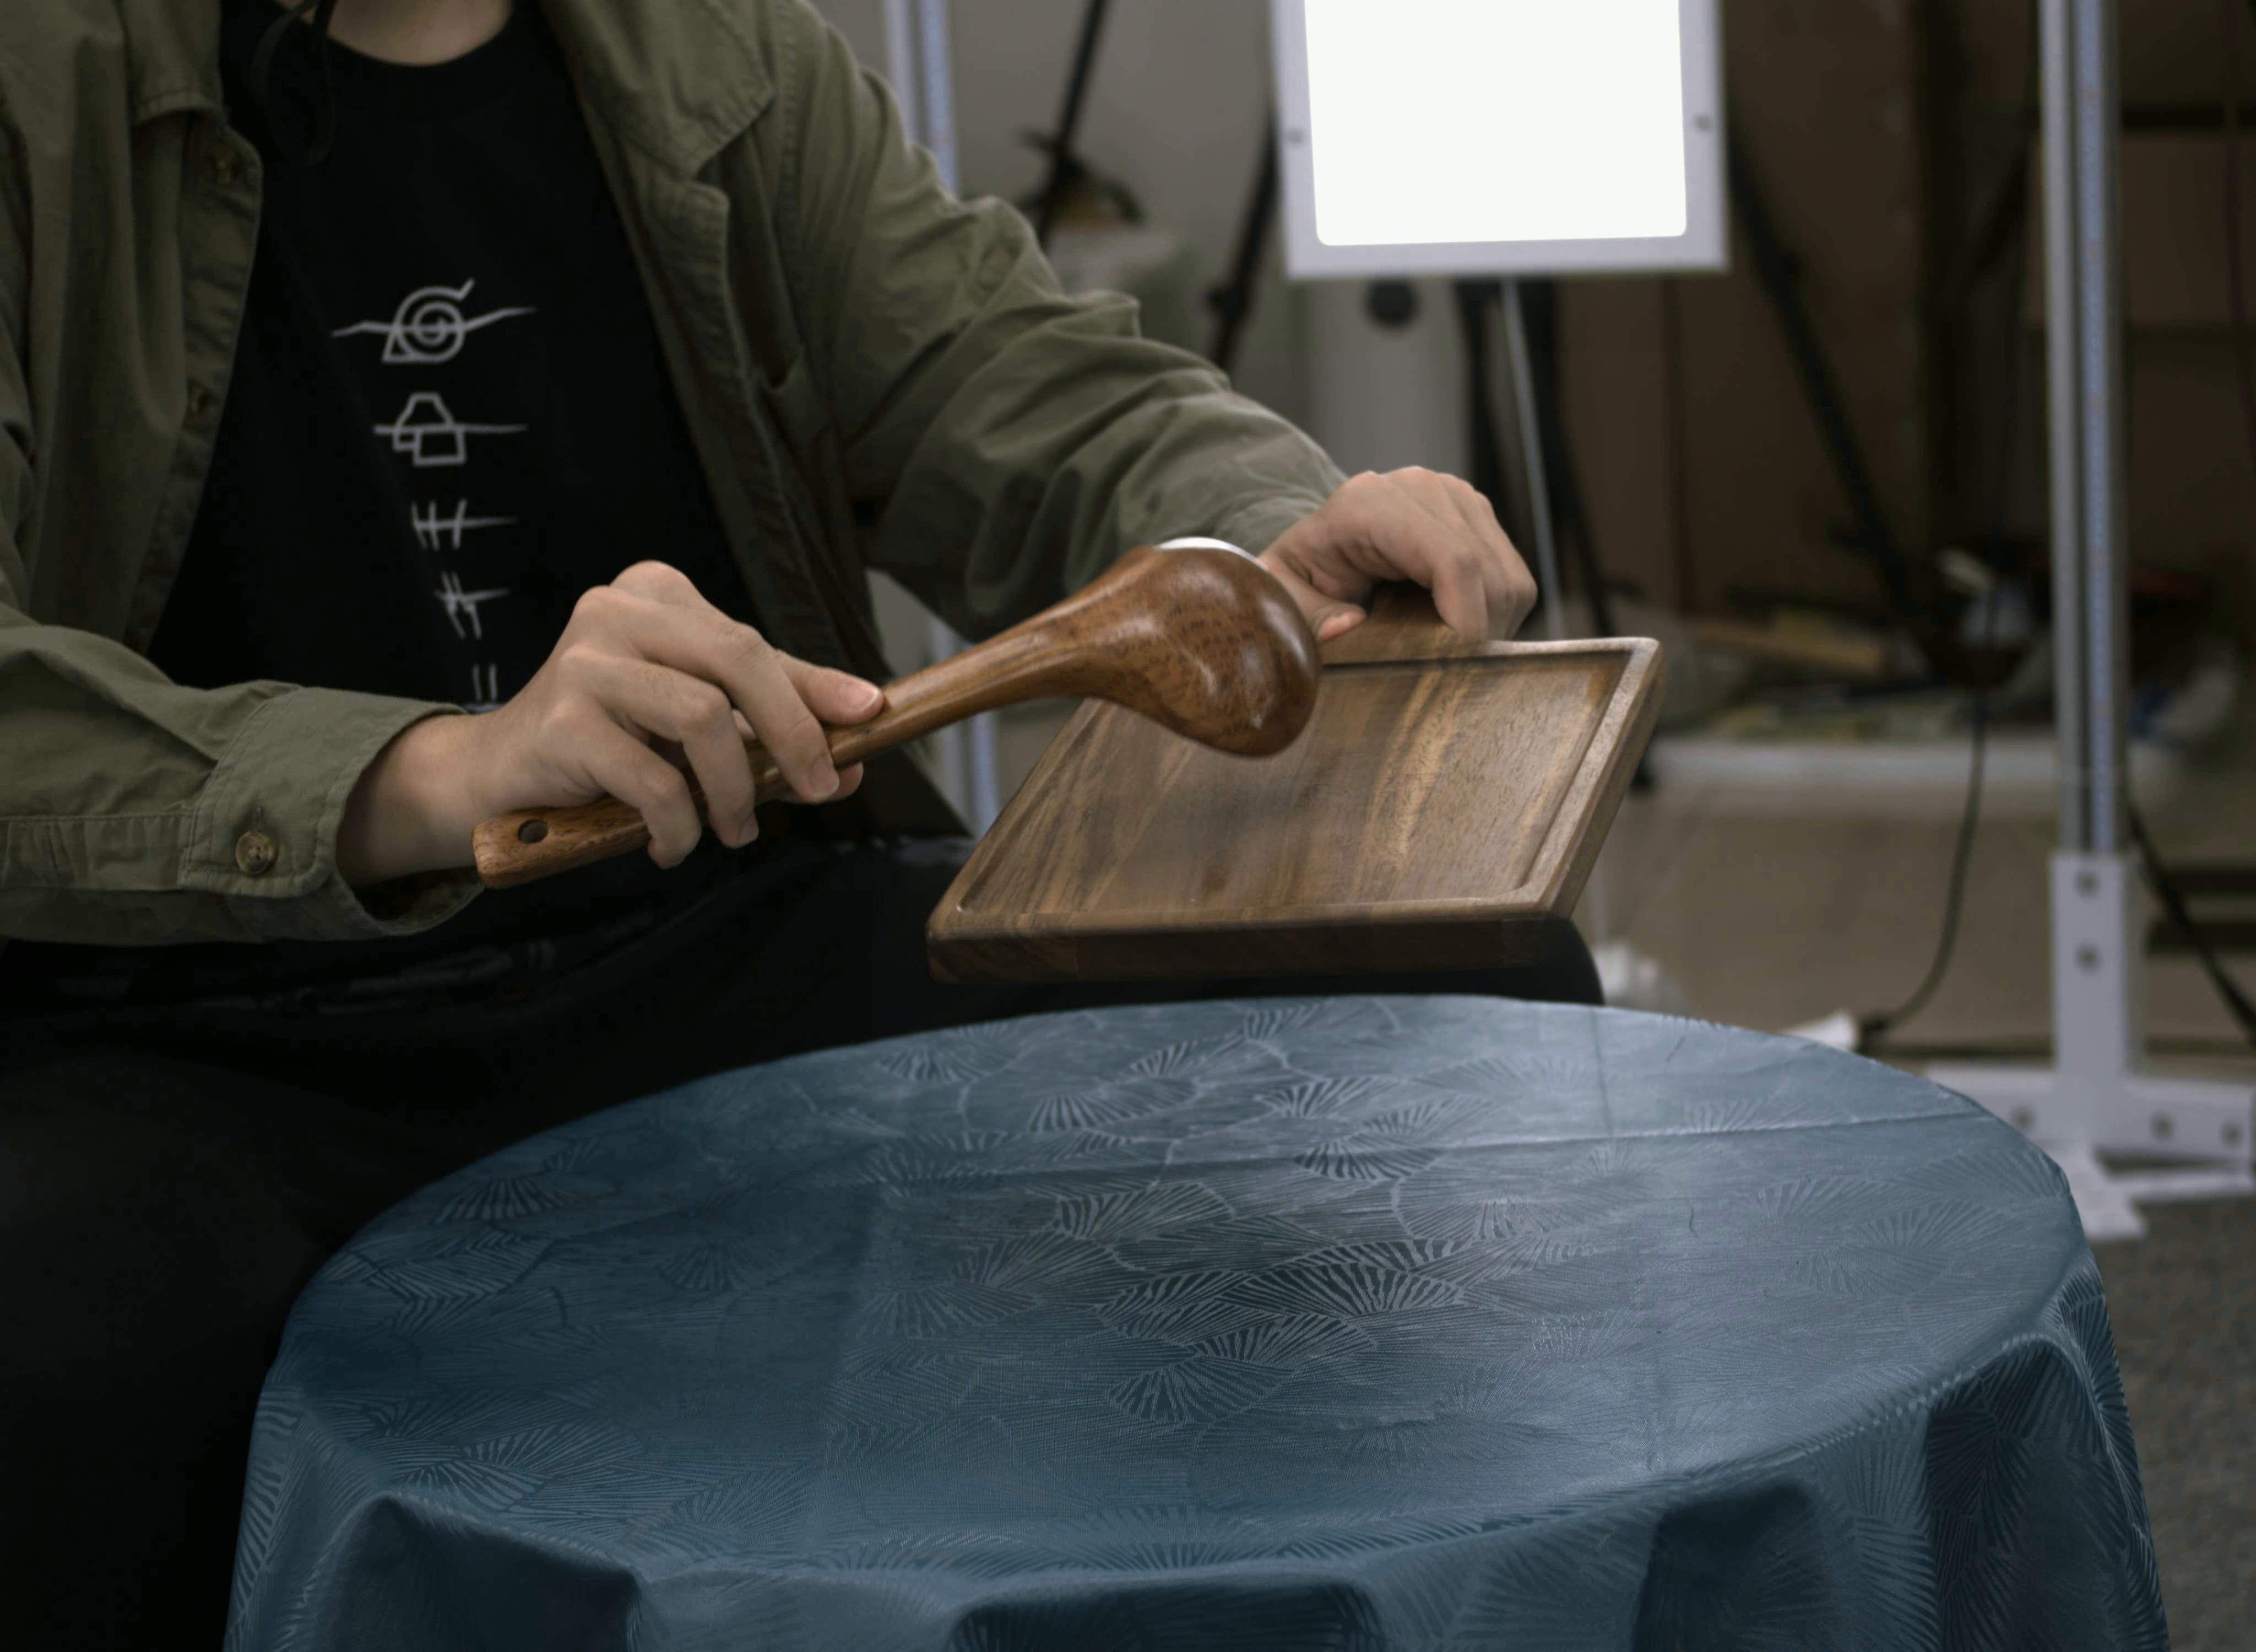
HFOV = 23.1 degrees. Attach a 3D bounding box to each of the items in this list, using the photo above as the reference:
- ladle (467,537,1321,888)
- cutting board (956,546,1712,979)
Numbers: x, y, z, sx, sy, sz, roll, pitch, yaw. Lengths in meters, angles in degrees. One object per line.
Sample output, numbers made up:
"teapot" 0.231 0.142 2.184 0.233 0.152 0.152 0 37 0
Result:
"ladle" -0.072 -0.022 1.757 0.275 0.076 0.082 -20 52 8
"cutting board" 0.084 -0.027 1.794 0.203 0.023 0.347 -2 21 18
